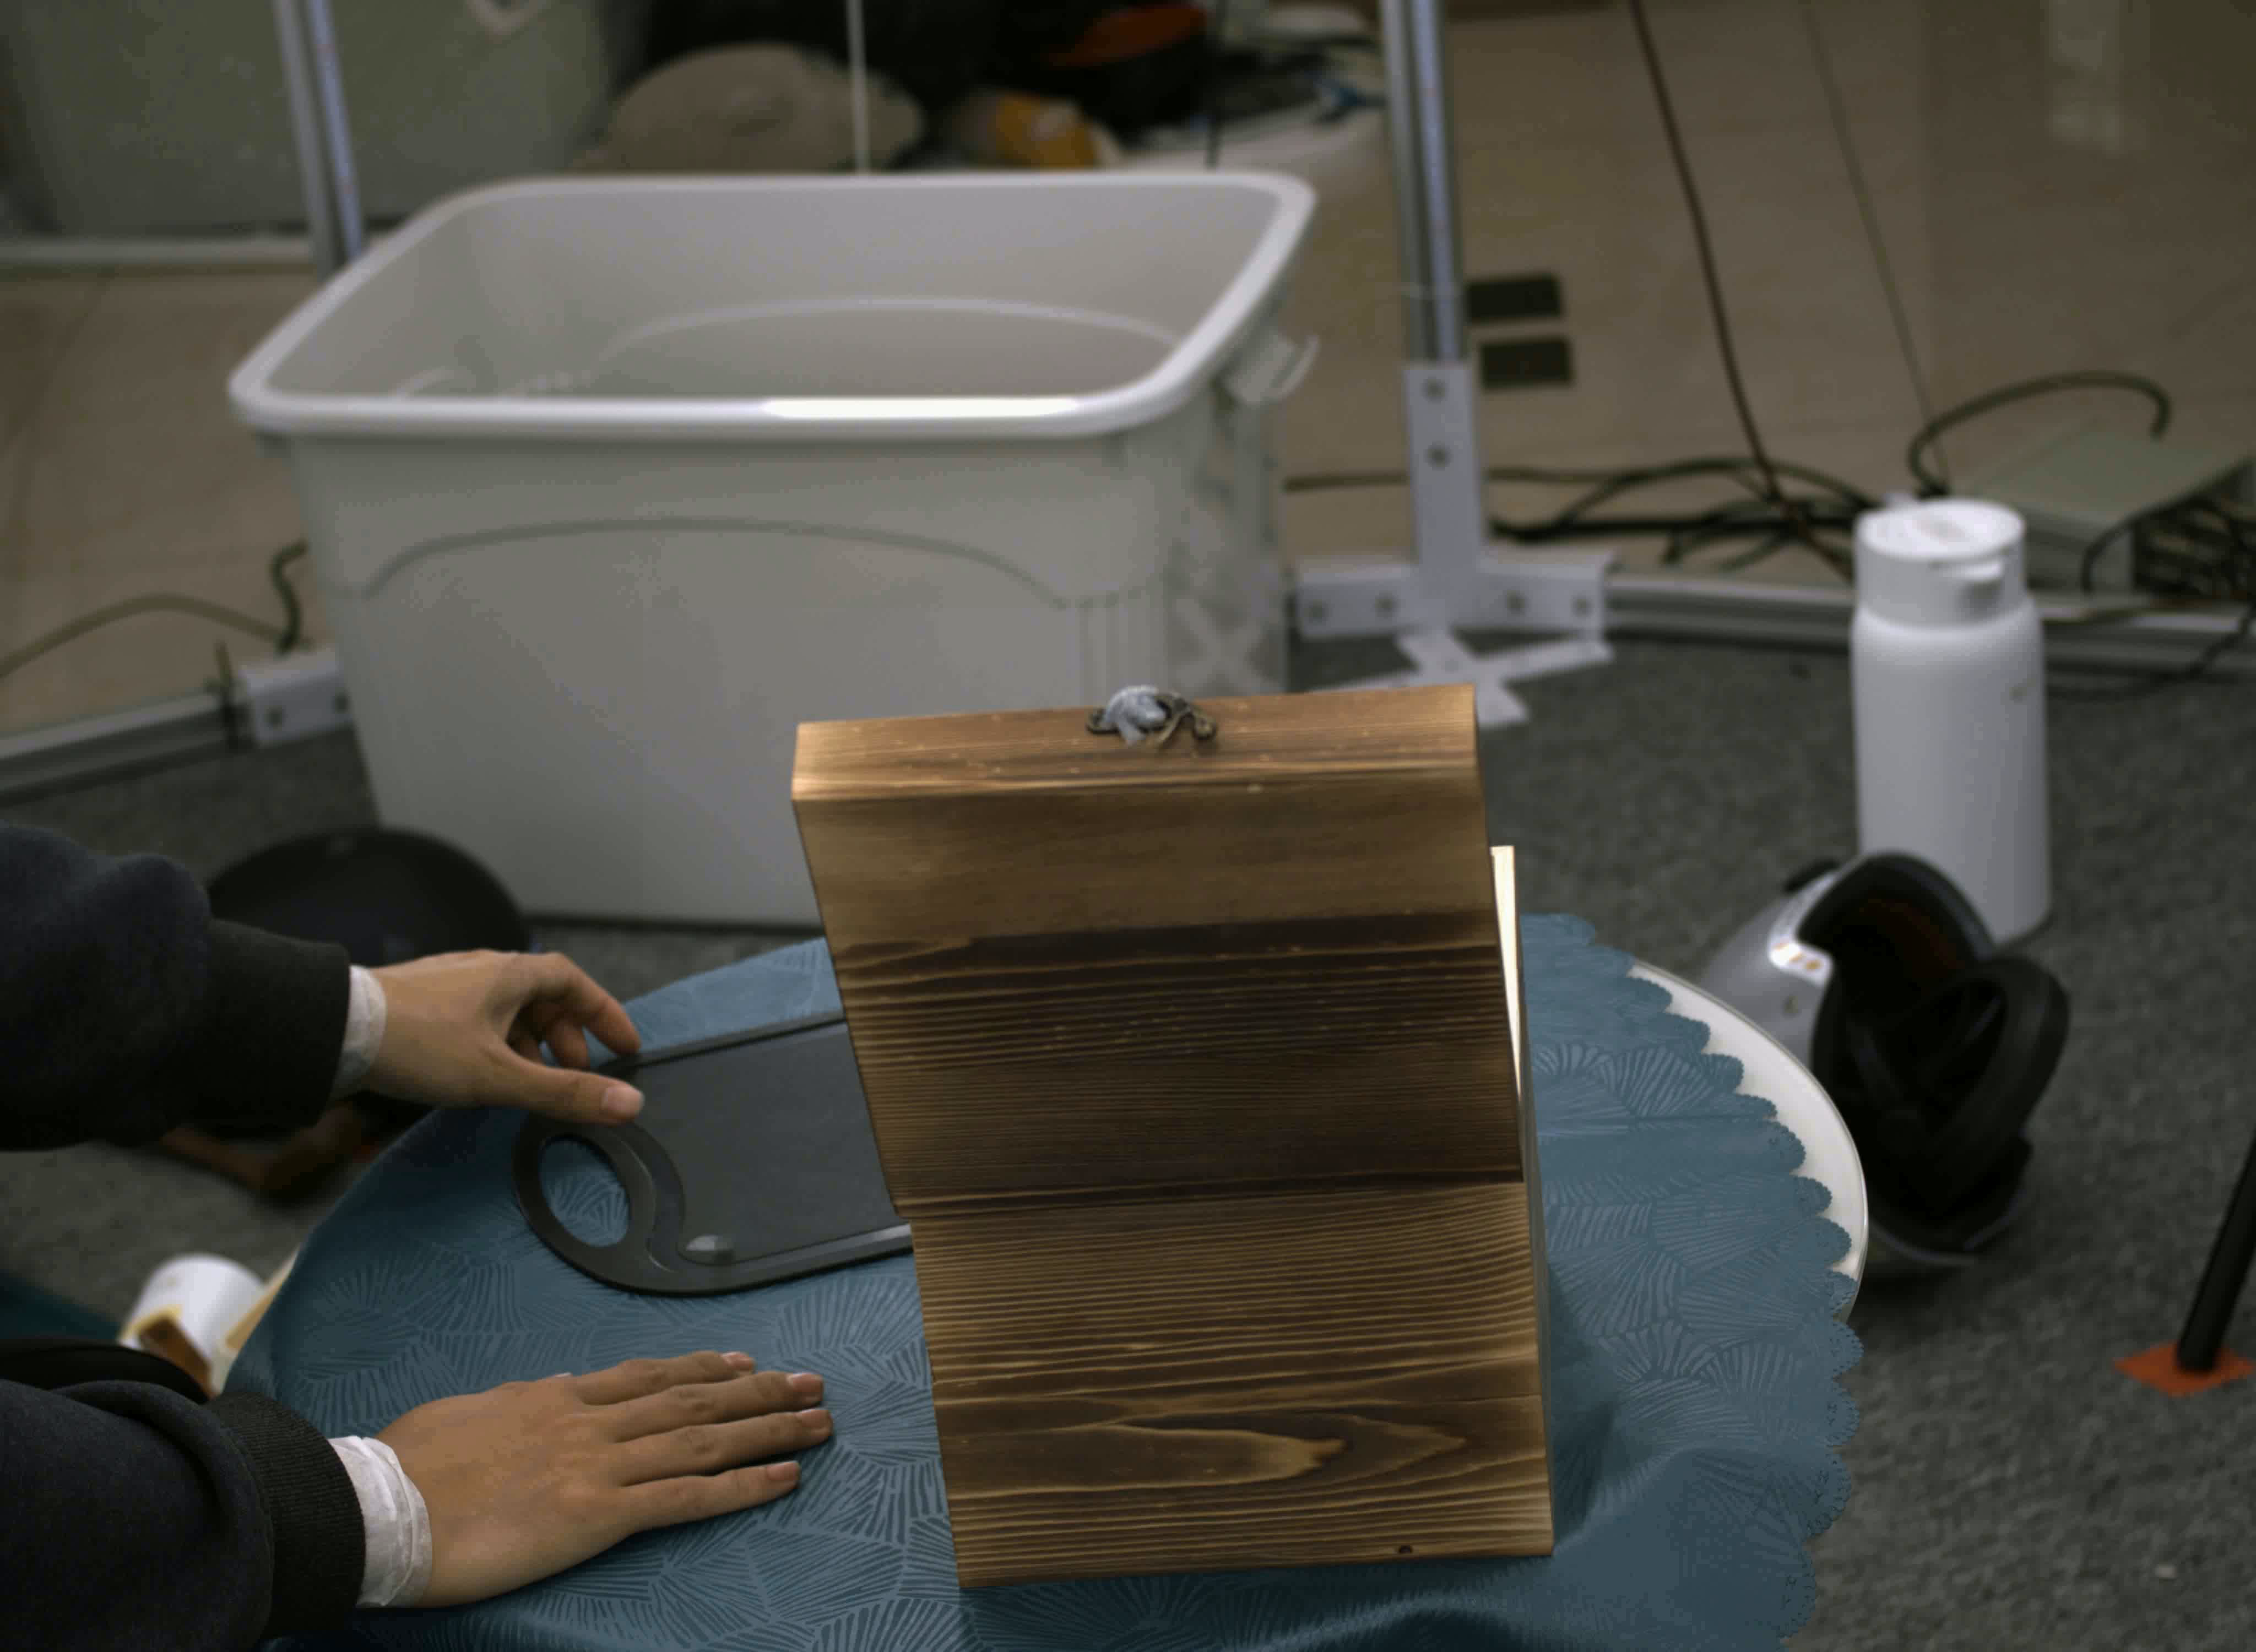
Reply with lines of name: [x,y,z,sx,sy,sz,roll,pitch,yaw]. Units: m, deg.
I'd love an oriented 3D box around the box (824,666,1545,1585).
box: [0.029,0.068,1.863,0.208,0.382,0.317,-3,27,5]

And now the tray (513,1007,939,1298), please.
tray: [-0.079,0.112,2.217,0.324,0.010,0.208,-12,25,-12]
